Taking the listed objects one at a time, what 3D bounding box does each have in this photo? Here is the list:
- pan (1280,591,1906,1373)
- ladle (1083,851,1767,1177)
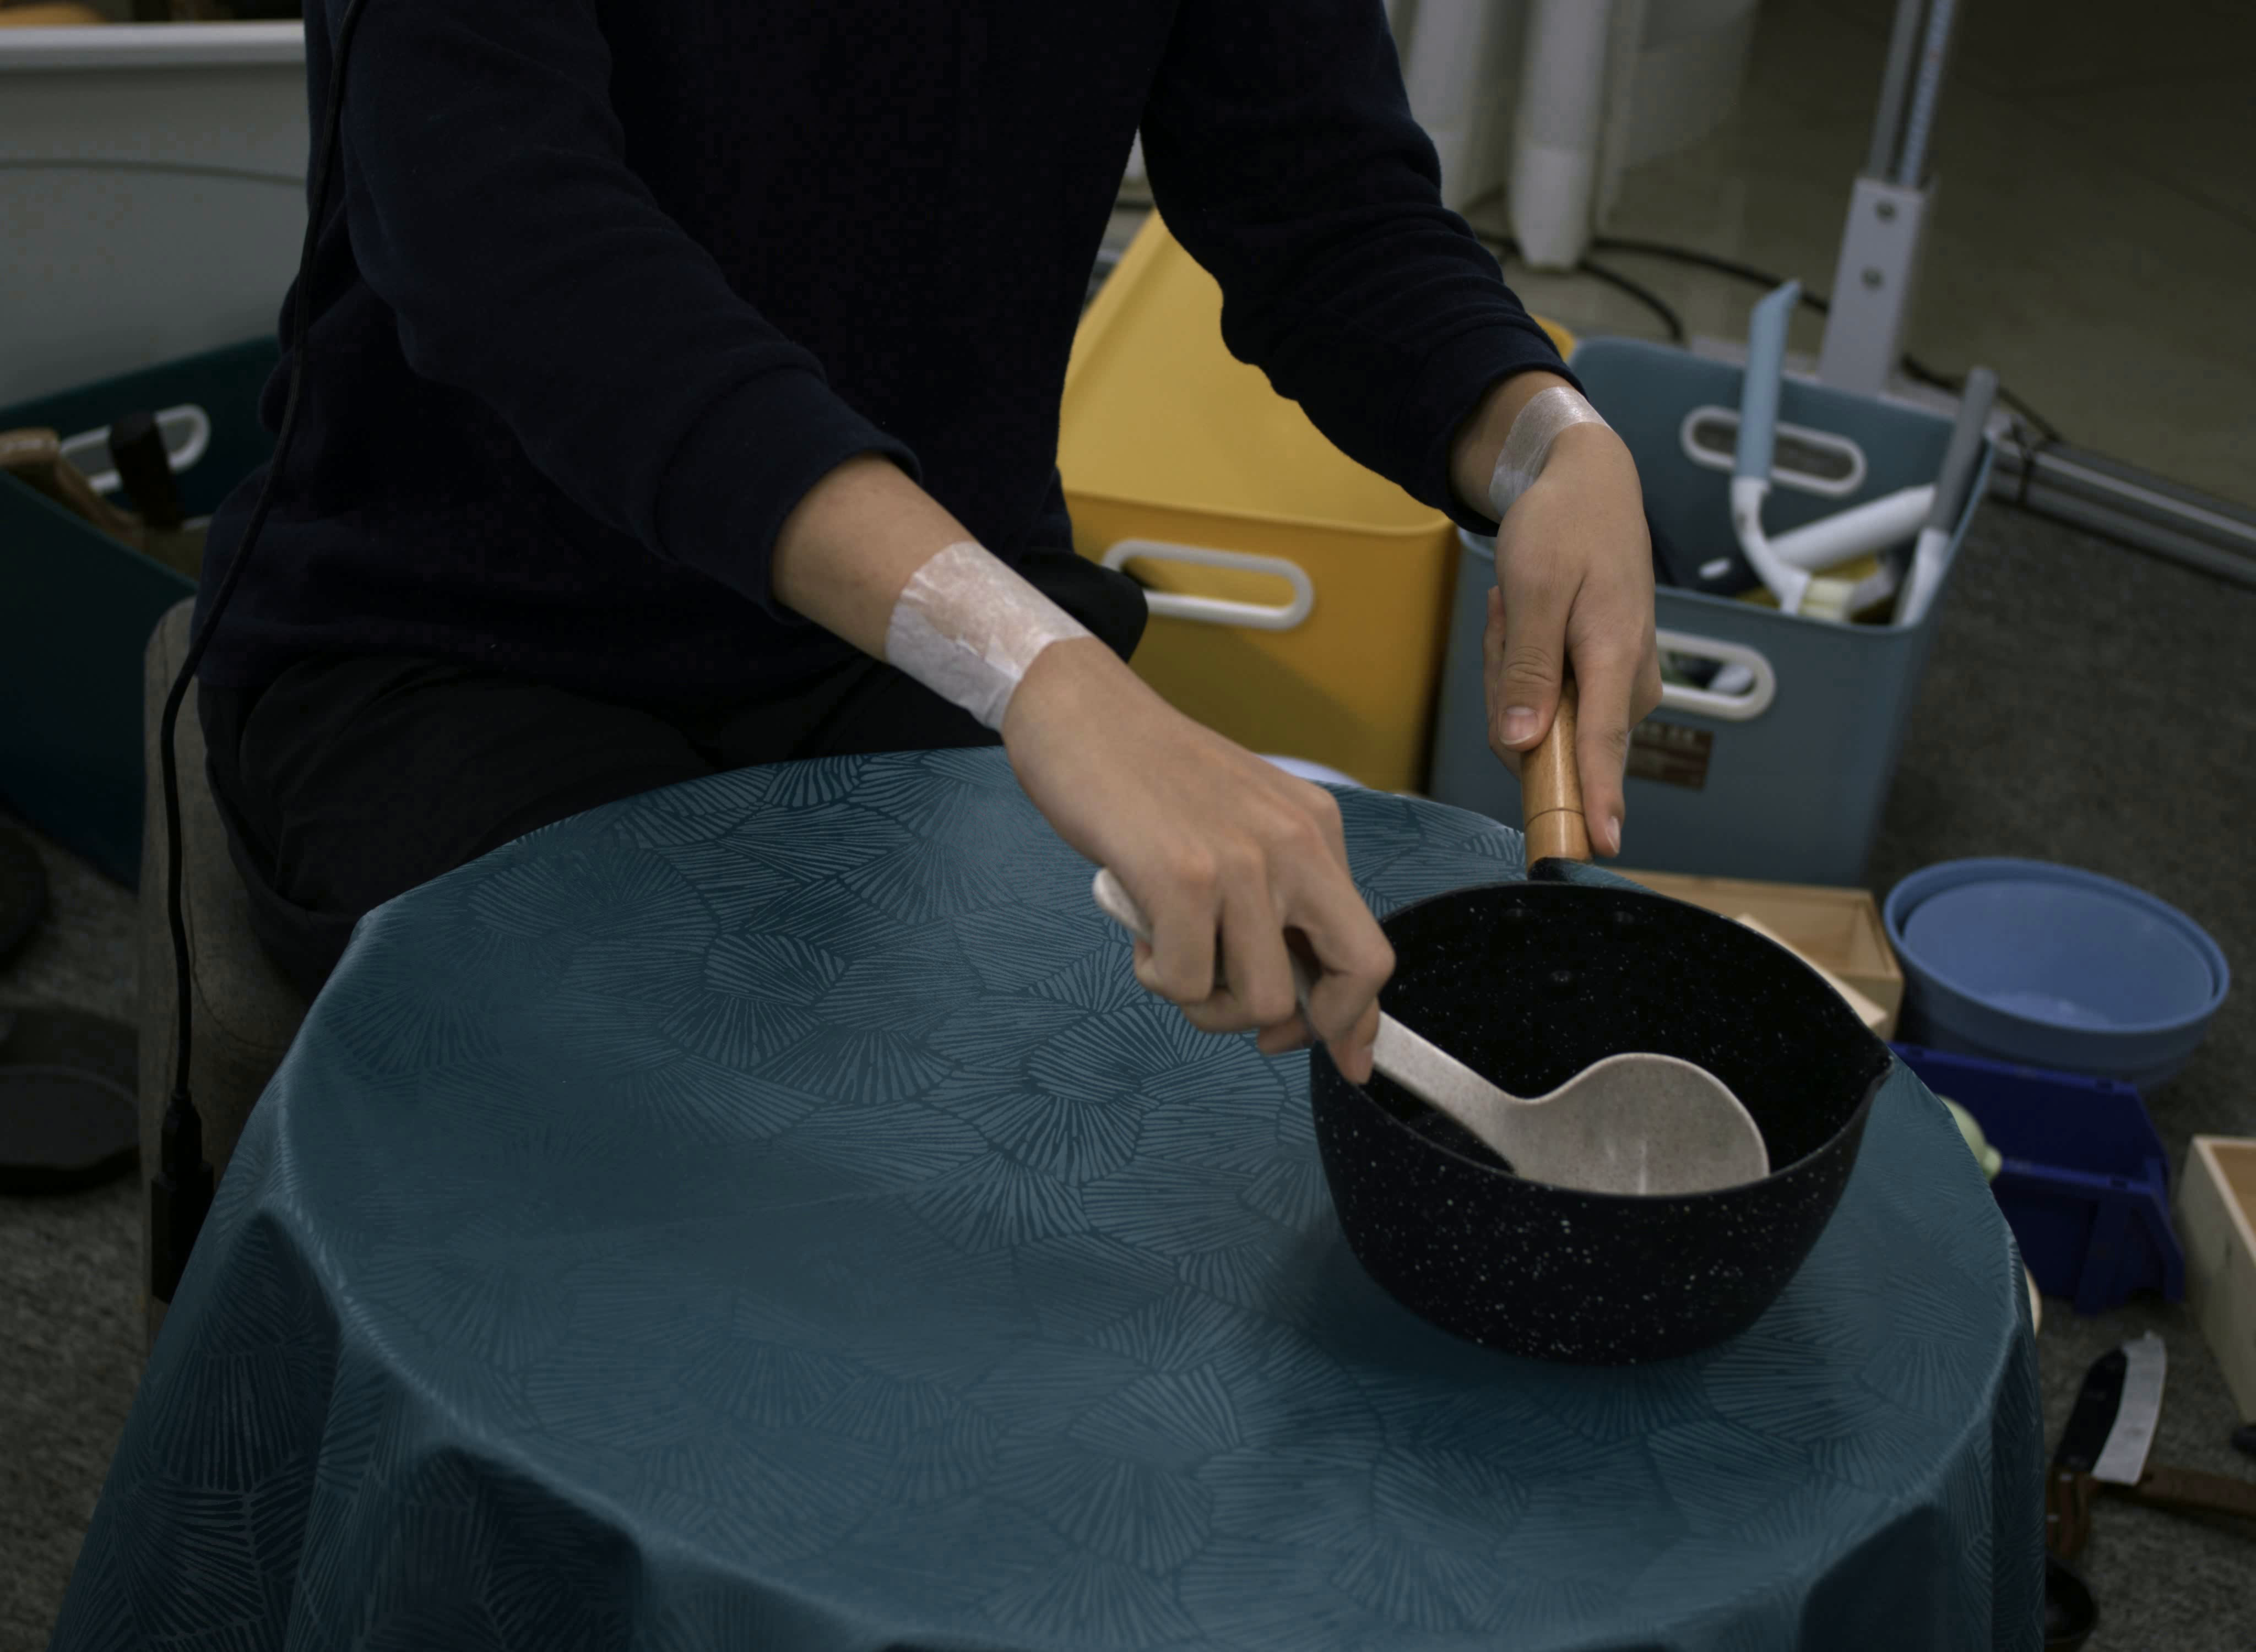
[{"bbox_3d":[0.149,0.050,1.835,0.207,0.108,0.345,2,33,-3],"label":"pan"},{"bbox_3d":[0.100,0.067,1.704,0.069,0.090,0.272,-13,-36,42],"label":"ladle"}]
